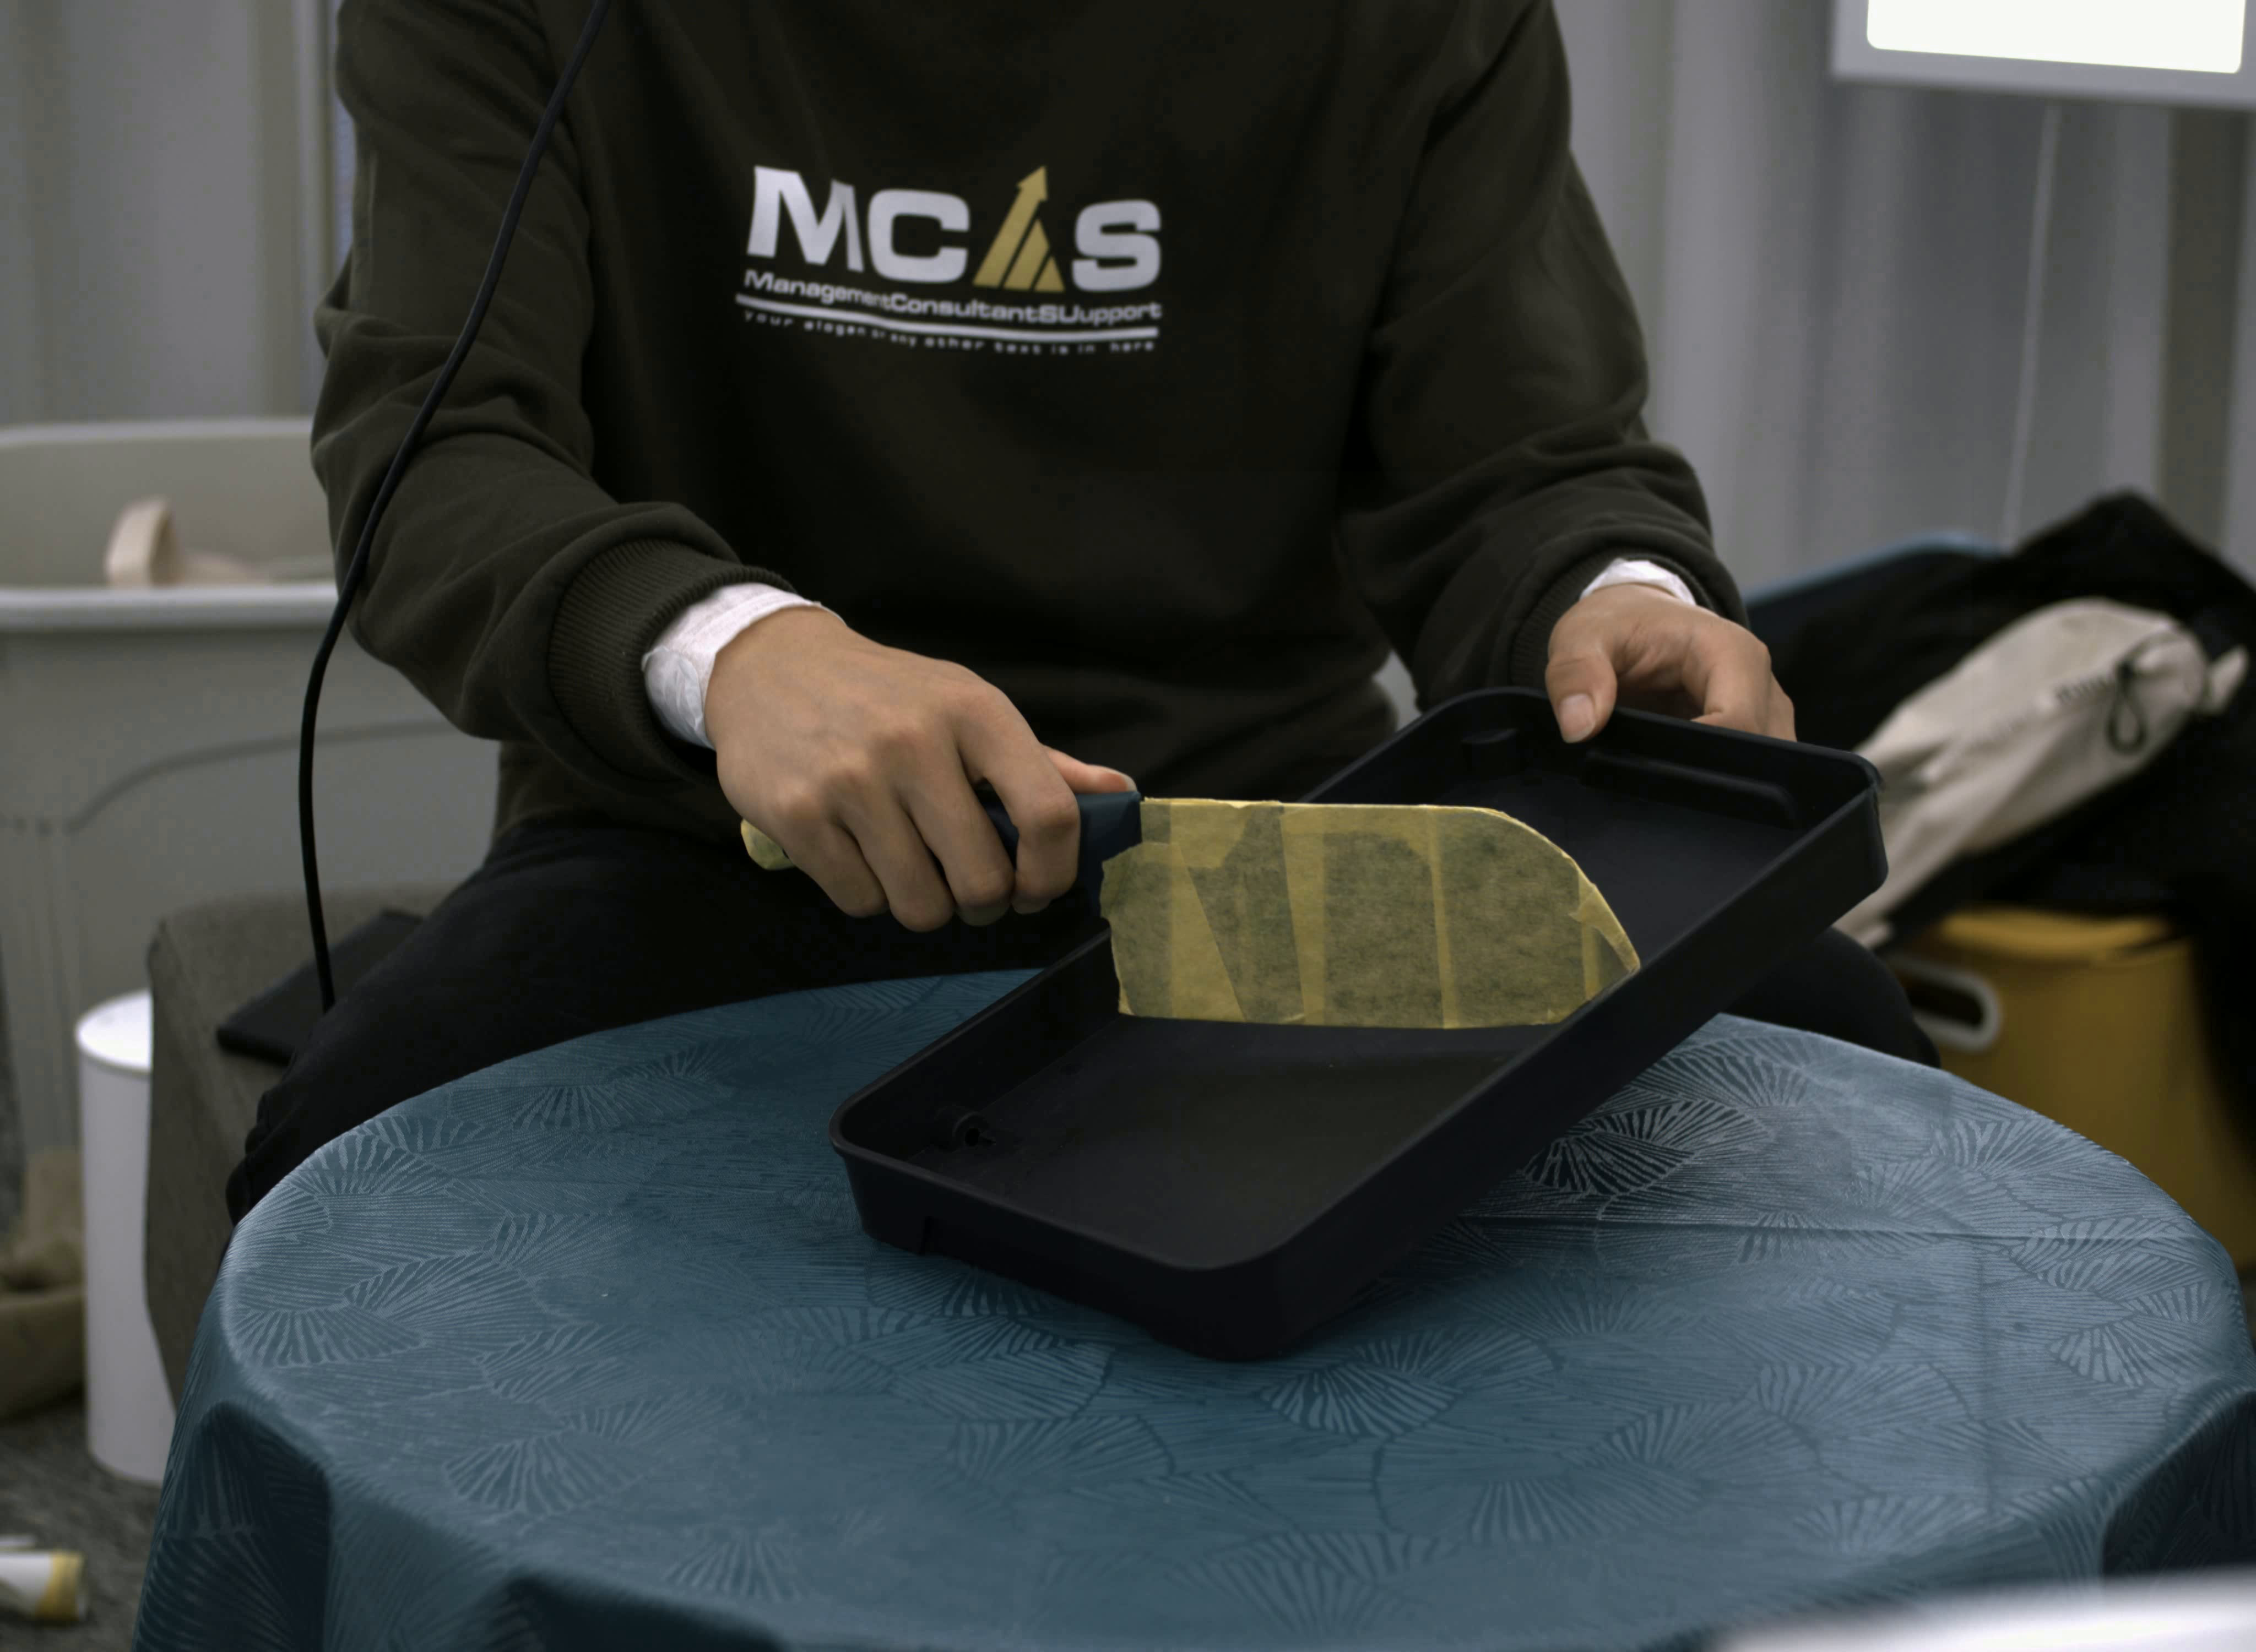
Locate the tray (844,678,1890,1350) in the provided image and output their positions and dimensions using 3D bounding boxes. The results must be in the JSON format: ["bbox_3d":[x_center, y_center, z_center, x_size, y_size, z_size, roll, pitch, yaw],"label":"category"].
[{"bbox_3d":[0.078,0.049,1.618,0.182,0.037,0.318,12,37,43],"label":"tray"}]

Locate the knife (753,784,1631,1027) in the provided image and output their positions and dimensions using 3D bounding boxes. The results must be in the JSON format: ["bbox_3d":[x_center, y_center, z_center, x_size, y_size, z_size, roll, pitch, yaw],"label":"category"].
[{"bbox_3d":[0.017,0.022,1.617,0.286,0.082,0.027,5,19,21],"label":"knife"}]
